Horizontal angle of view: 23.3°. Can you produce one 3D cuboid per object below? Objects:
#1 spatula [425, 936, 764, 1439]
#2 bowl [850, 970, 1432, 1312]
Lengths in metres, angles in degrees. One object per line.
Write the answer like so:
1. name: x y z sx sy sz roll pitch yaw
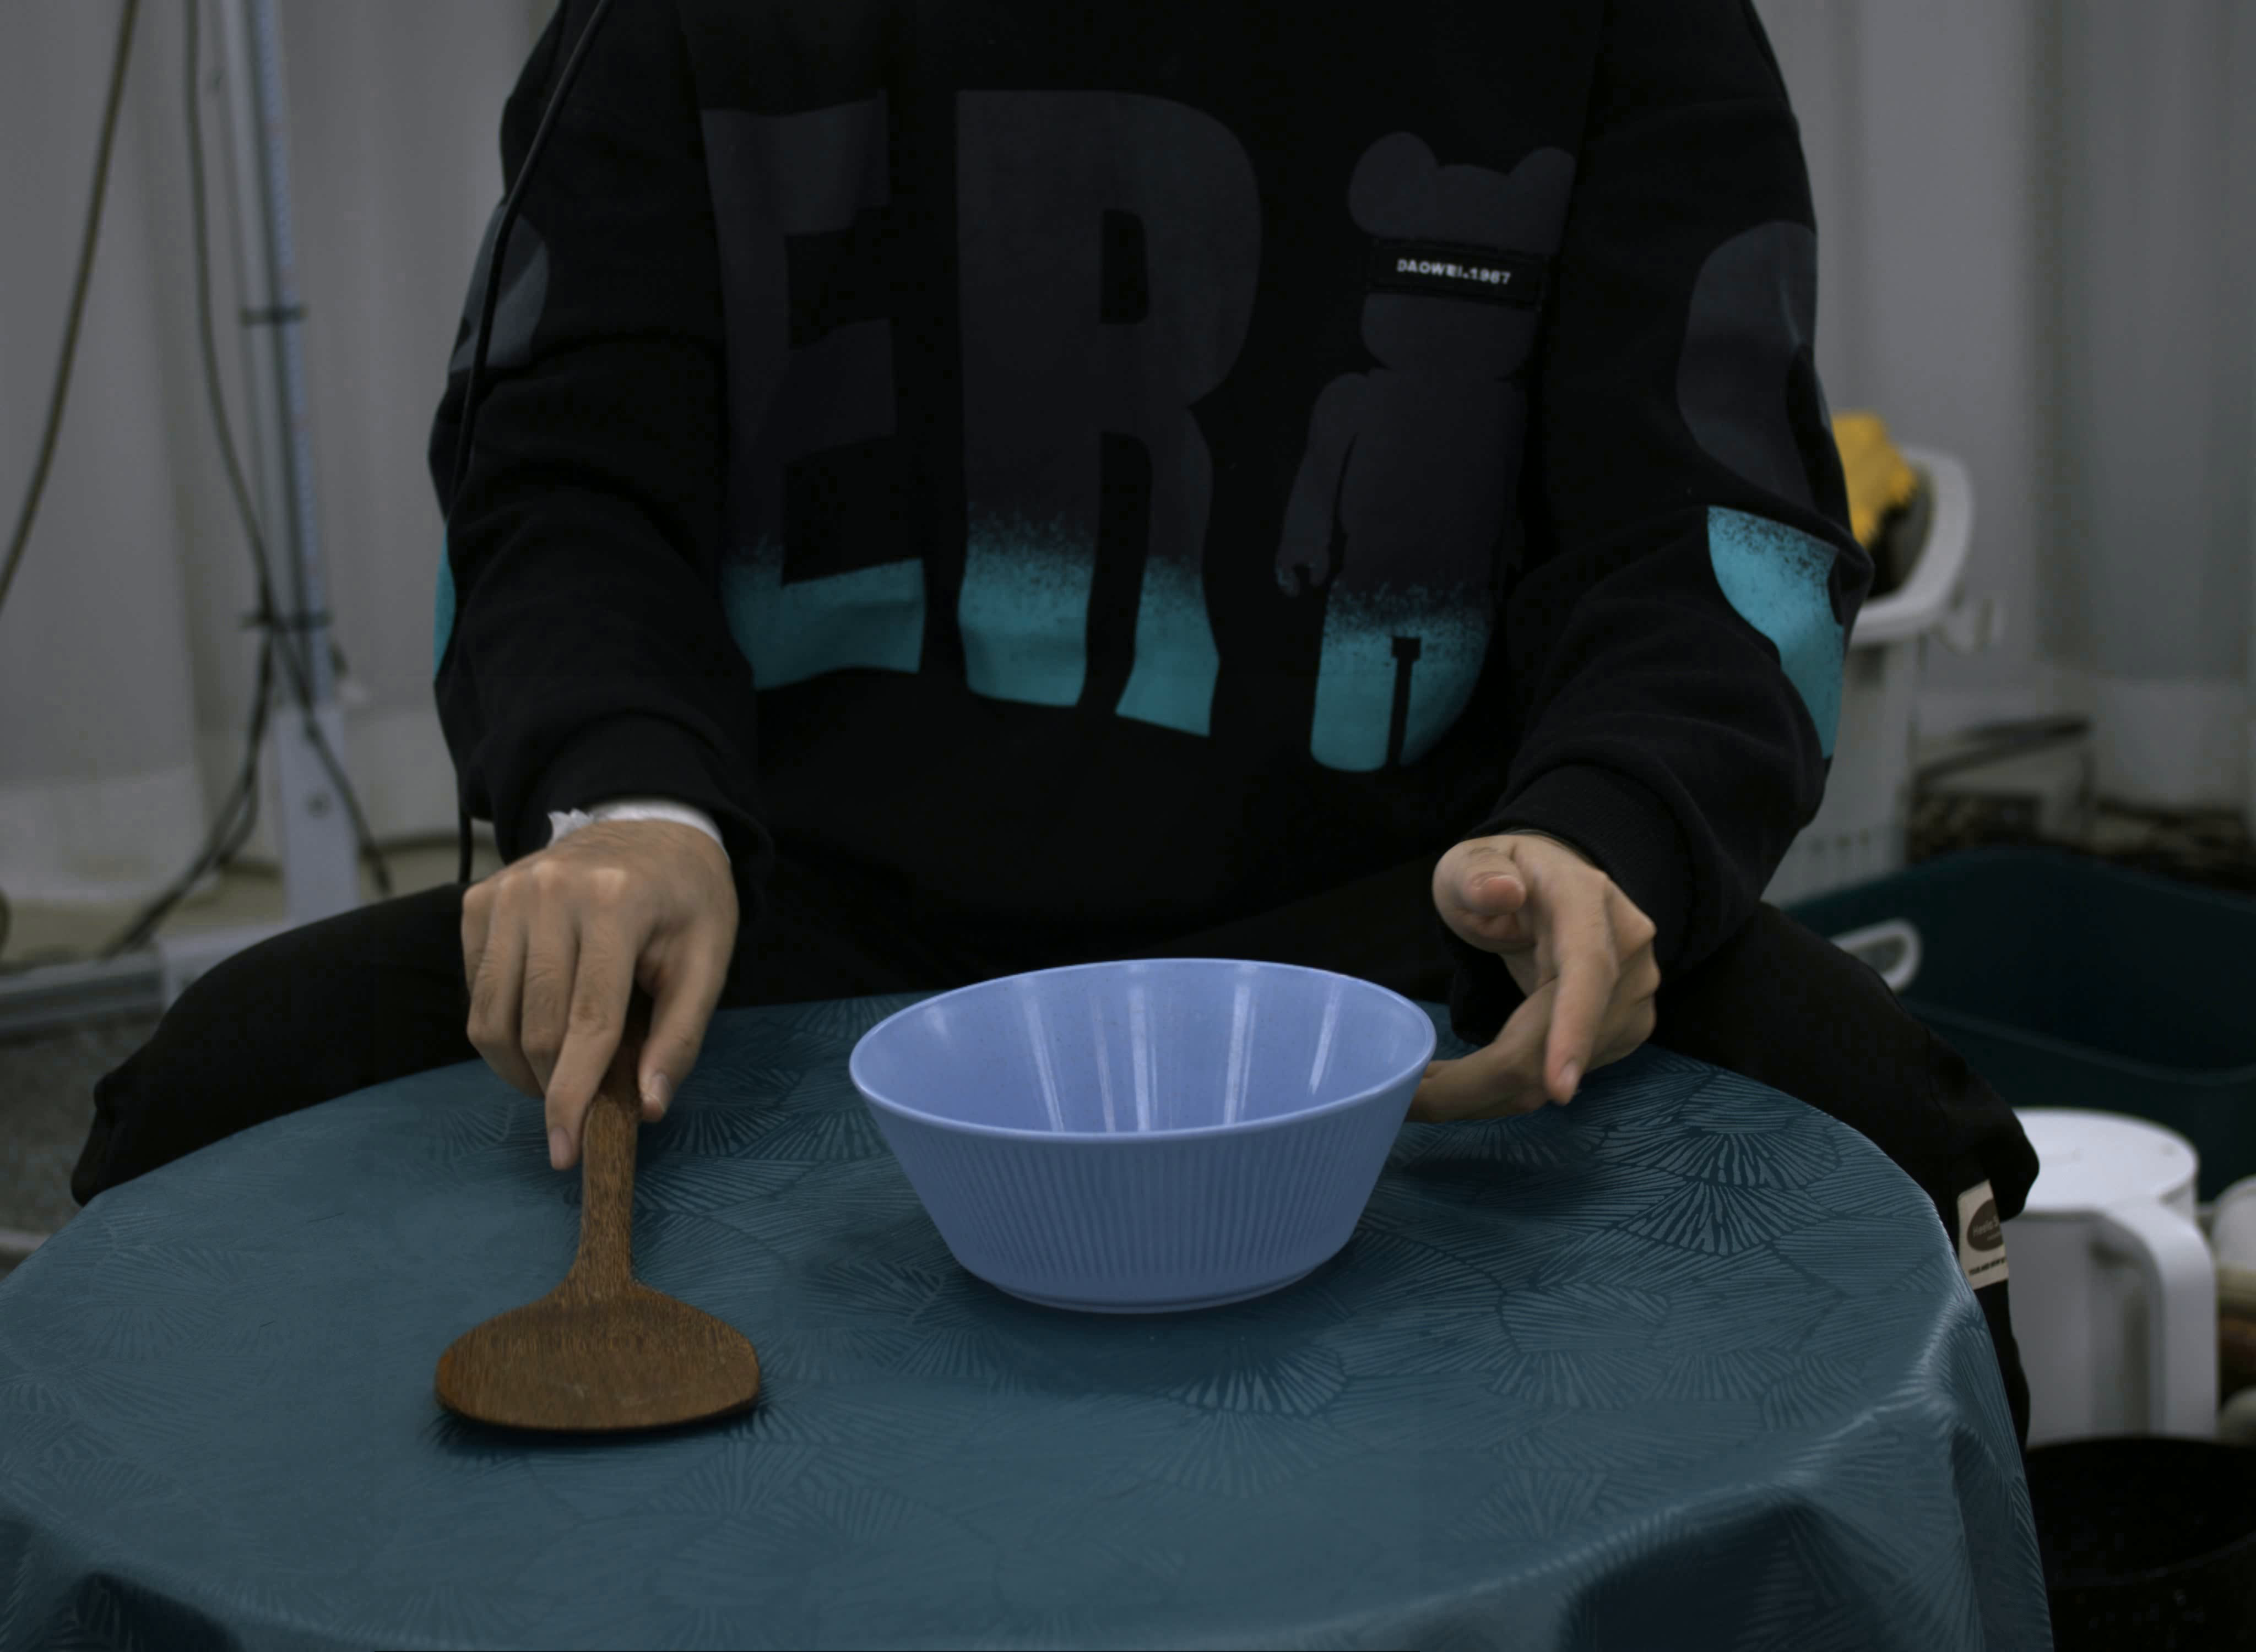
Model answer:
1. spatula: -0.163 0.105 1.703 0.096 0.015 0.390 0 20 -4
2. bowl: 0.005 0.097 1.646 0.175 0.070 0.177 -2 14 0
